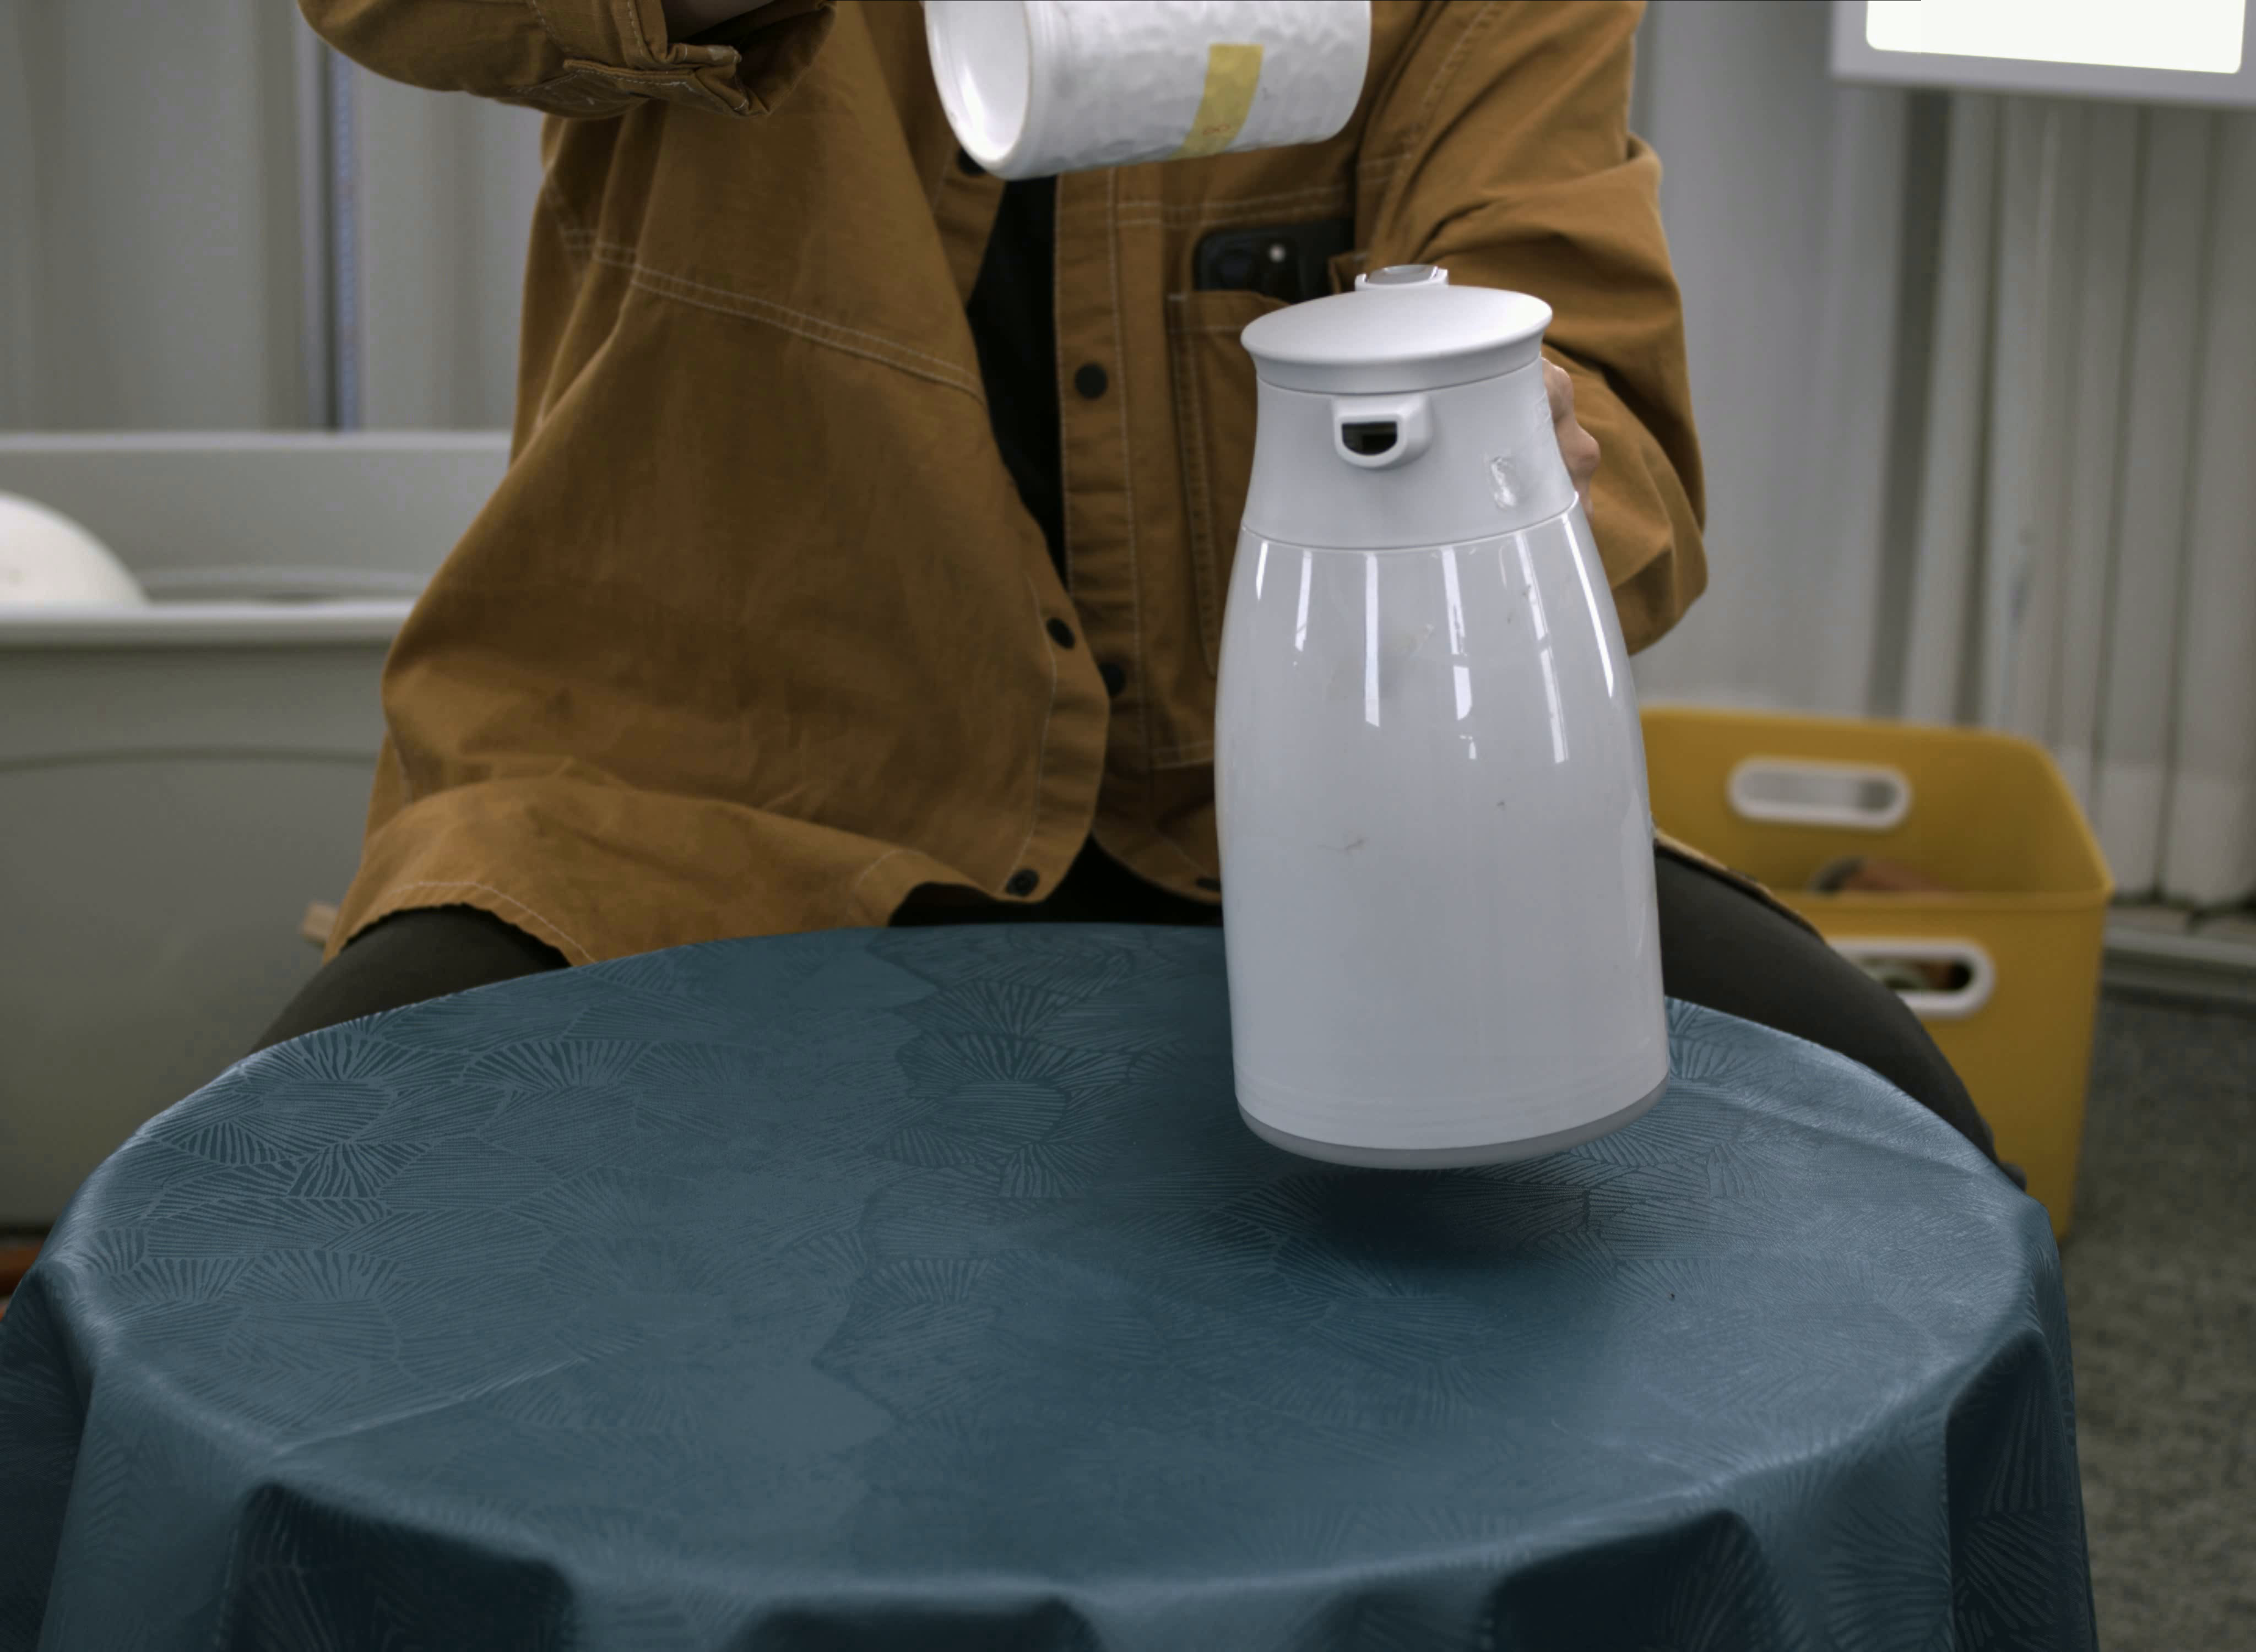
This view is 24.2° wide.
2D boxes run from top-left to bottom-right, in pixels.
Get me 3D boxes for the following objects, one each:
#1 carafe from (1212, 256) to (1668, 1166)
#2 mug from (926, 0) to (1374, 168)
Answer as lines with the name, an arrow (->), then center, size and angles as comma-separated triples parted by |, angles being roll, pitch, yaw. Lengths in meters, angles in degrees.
carafe -> 0.089, -0.043, 1.582 | 0.132, 0.251, 0.167 | -3, 17, 10
mug -> -0.002, -0.239, 1.479 | 0.102, 0.086, 0.116 | -11, 37, -24
